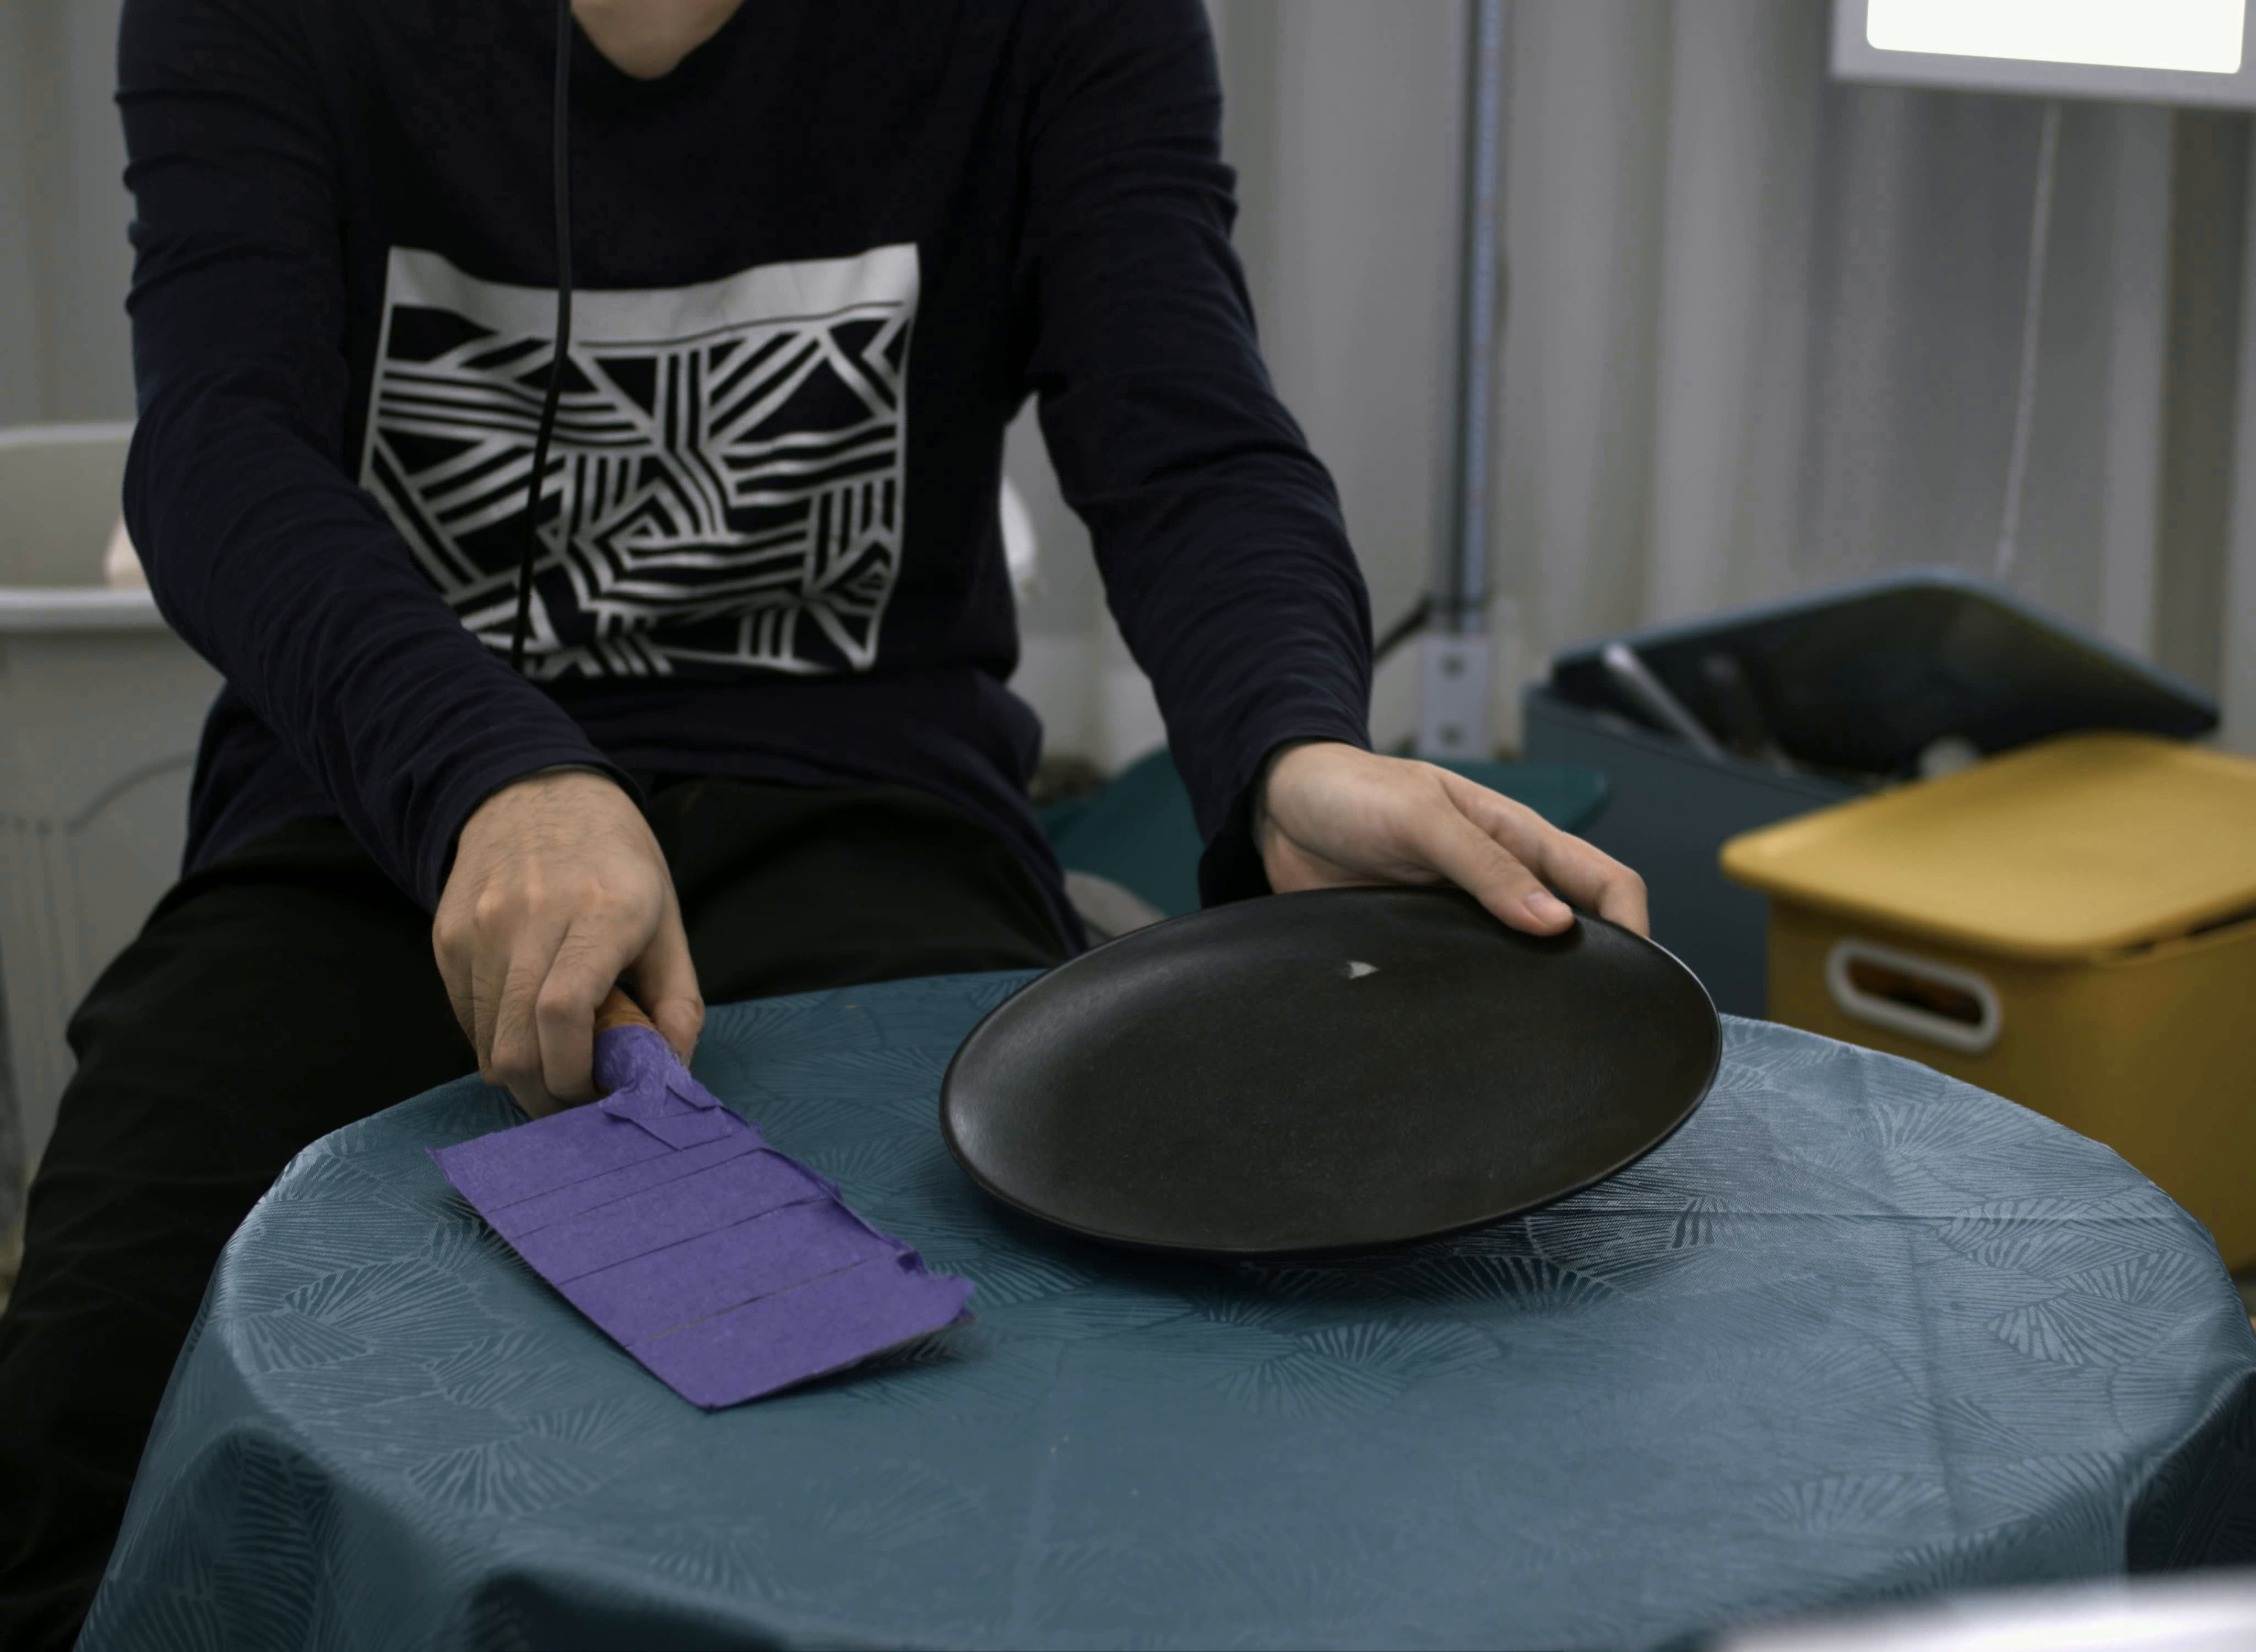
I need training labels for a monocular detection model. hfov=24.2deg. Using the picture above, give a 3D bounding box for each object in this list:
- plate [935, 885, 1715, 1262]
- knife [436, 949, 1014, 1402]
[{"bbox_3d":[0.061,0.080,1.633,0.243,0.024,0.242,-6,25,3],"label":"plate"},{"bbox_3d":[-0.151,0.101,1.585,0.104,0.032,0.311,-14,22,-26],"label":"knife"}]
